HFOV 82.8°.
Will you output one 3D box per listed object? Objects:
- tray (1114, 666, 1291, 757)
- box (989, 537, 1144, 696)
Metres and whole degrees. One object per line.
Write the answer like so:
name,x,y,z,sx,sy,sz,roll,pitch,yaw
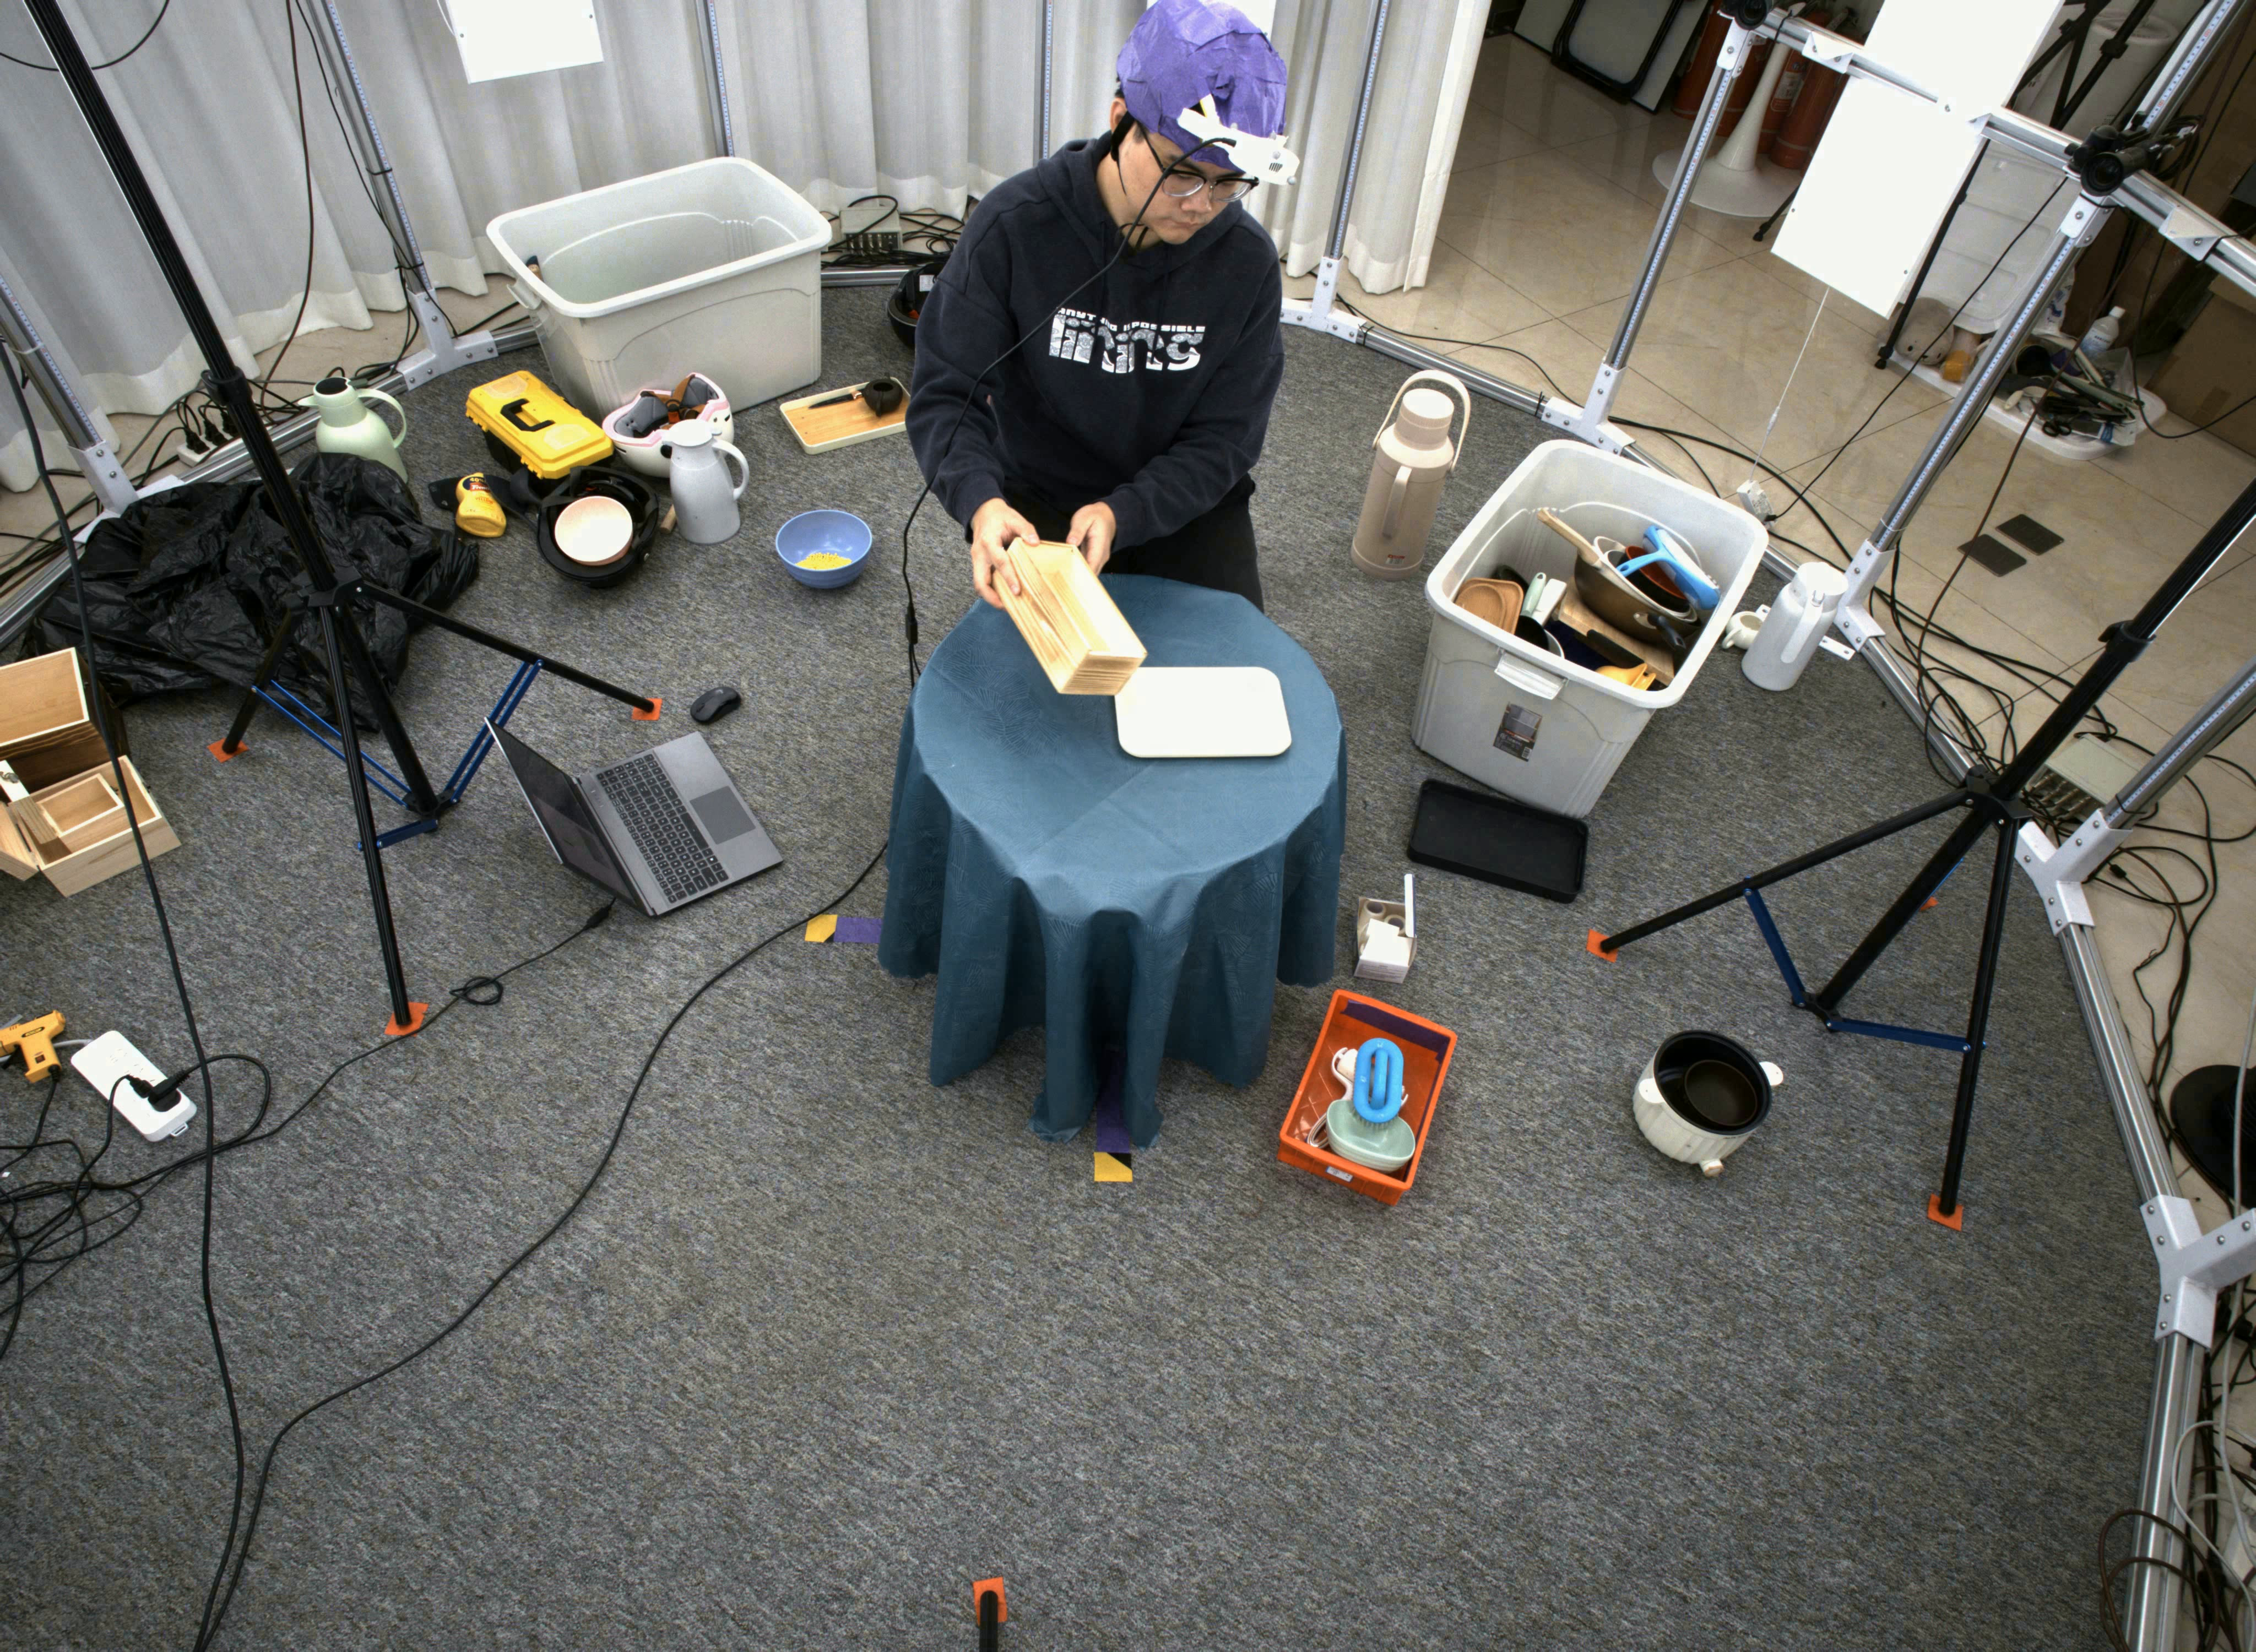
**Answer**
tray,0.102,-0.160,1.801,0.239,0.017,0.175,-1,49,-5
box,-0.083,-0.277,1.702,0.107,0.079,0.215,-1,49,-43
